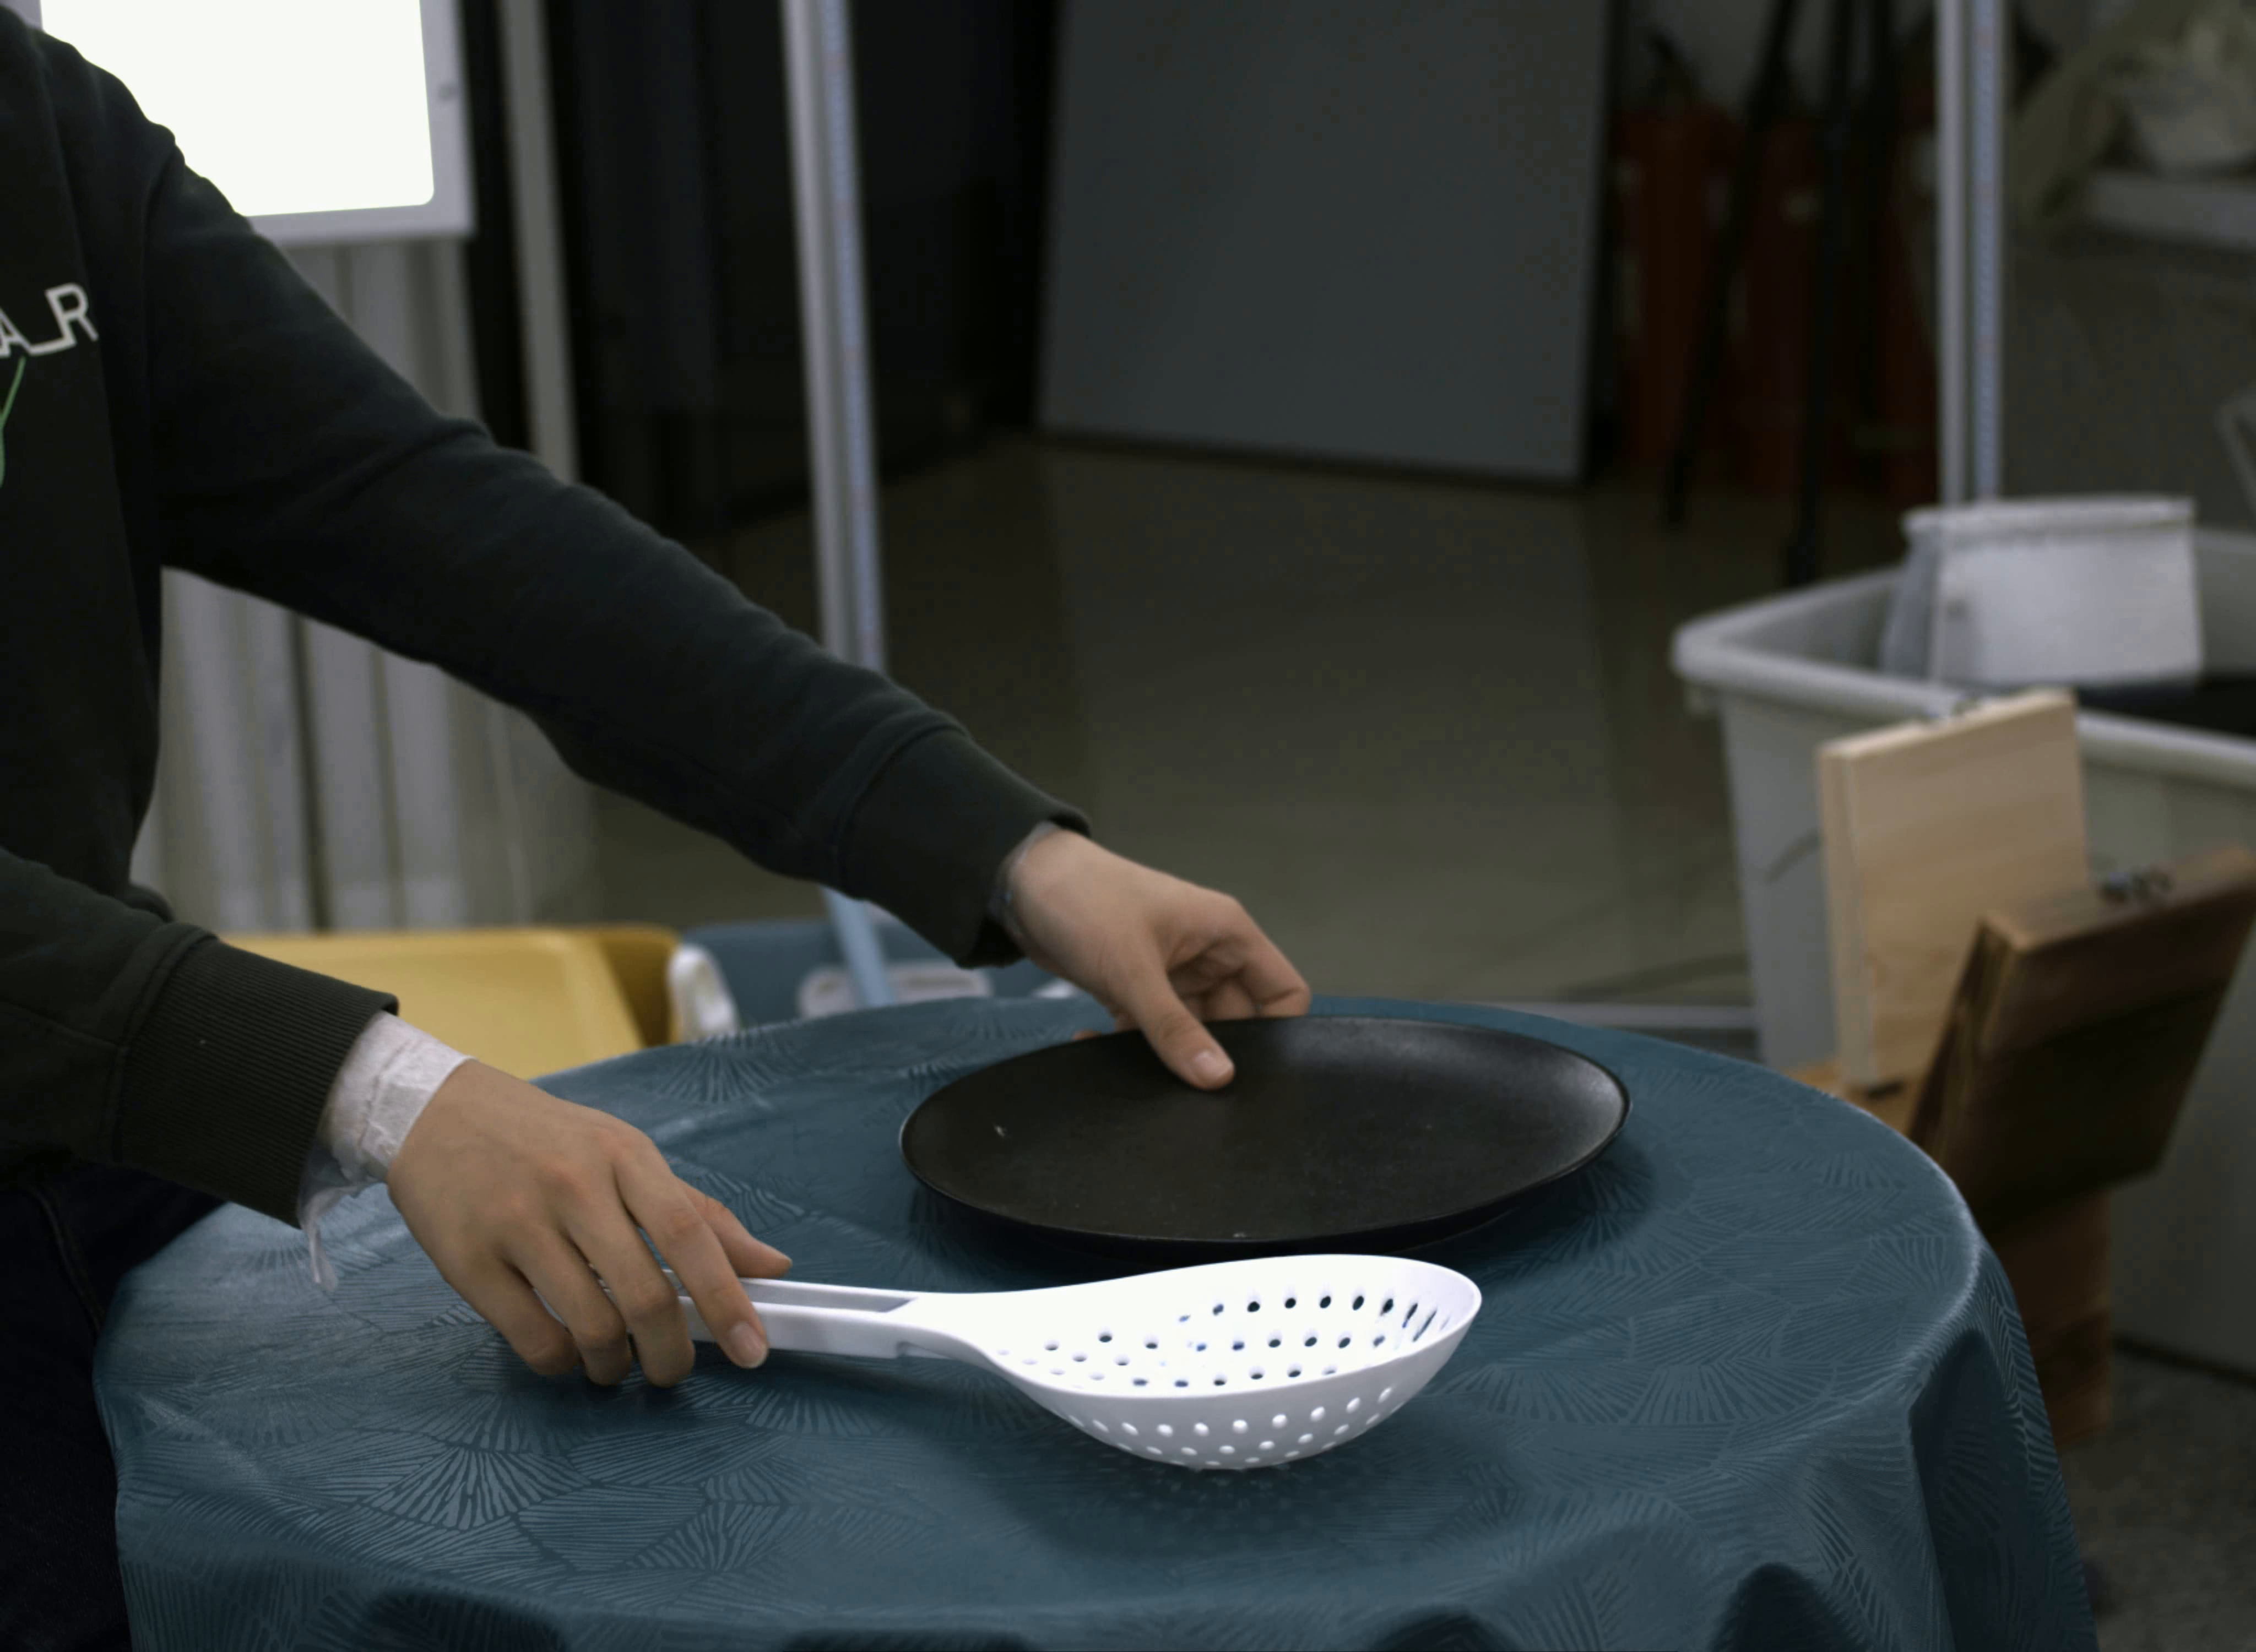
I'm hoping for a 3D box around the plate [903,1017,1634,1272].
[{"bbox_3d":[0.046,0.107,1.768,0.241,0.024,0.245,-4,14,0],"label":"plate"}]

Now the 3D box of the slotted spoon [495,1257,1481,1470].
[{"bbox_3d":[-0.052,0.147,1.586,0.352,0.046,0.133,5,15,37],"label":"slotted spoon"}]
